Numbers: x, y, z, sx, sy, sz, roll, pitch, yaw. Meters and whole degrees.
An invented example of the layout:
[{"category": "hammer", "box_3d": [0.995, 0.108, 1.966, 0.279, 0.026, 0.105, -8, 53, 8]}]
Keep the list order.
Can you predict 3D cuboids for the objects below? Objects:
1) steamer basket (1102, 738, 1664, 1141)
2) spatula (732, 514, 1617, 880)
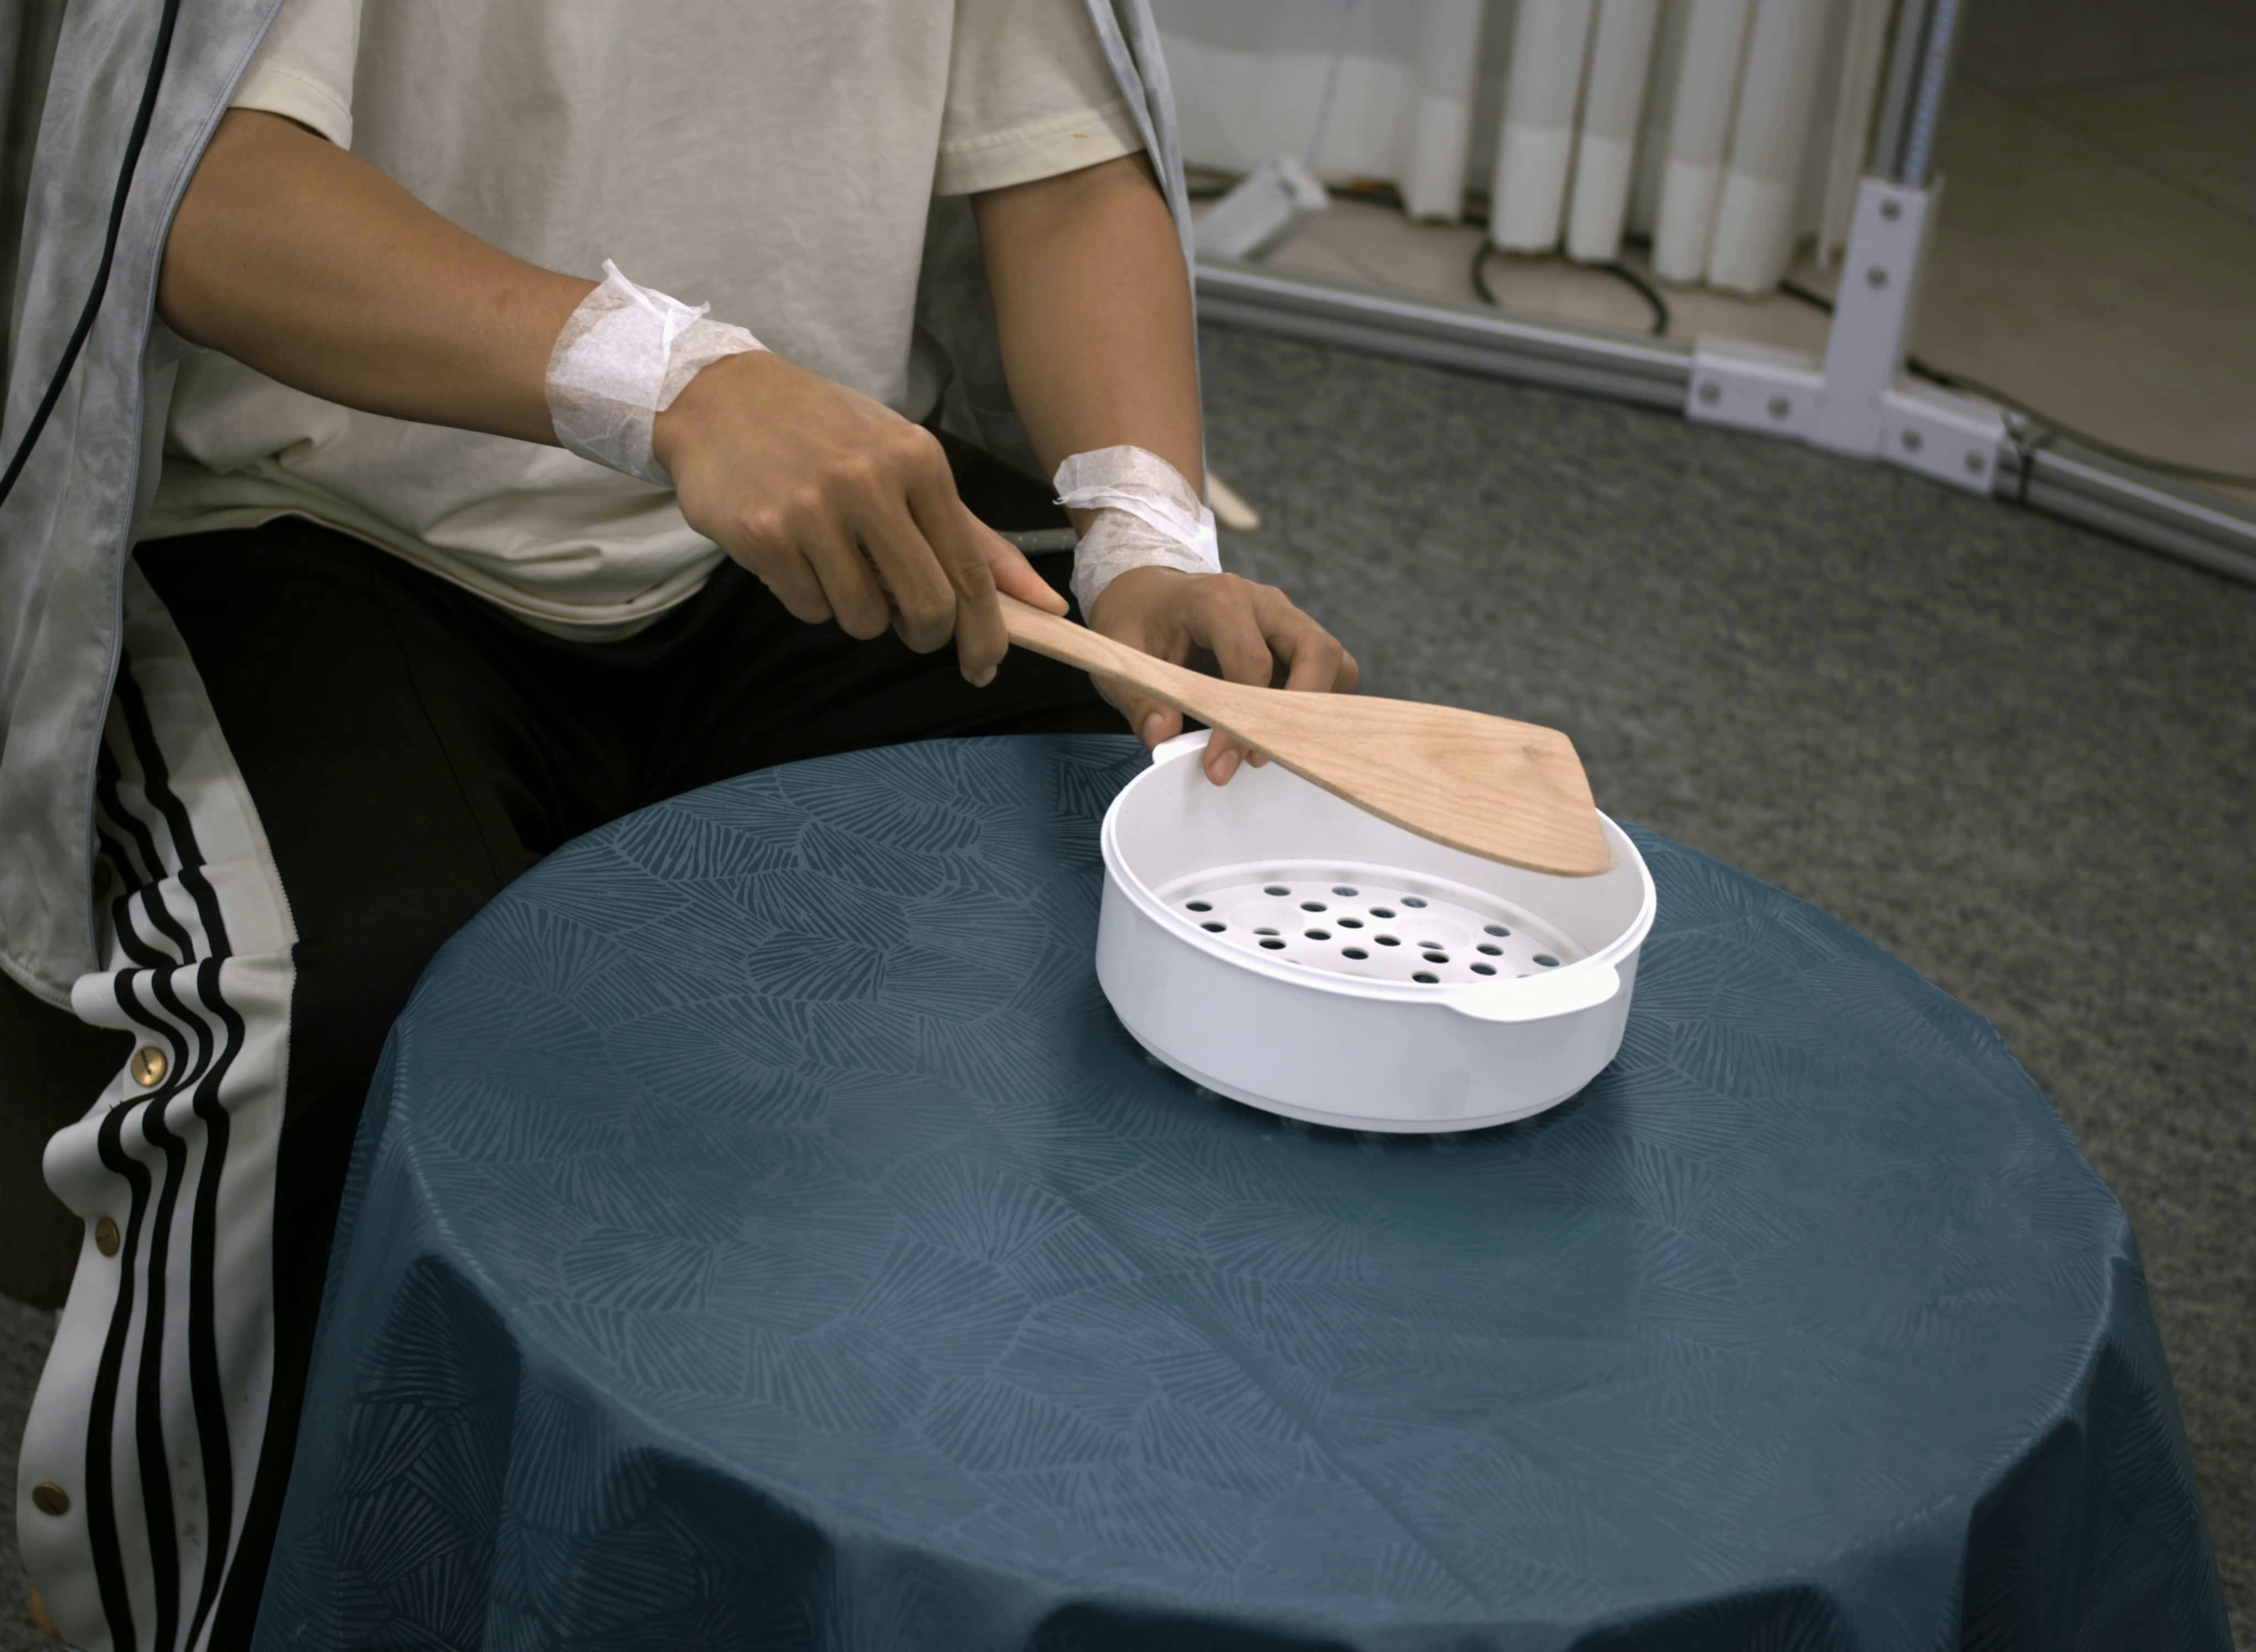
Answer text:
[{"category": "steamer basket", "box_3d": [0.089, 0.042, 1.913, 0.200, 0.069, 0.232, -9, 29, -30]}, {"category": "spatula", "box_3d": [0.018, -0.052, 1.848, 0.326, 0.016, 0.080, 19, 37, -11]}]
